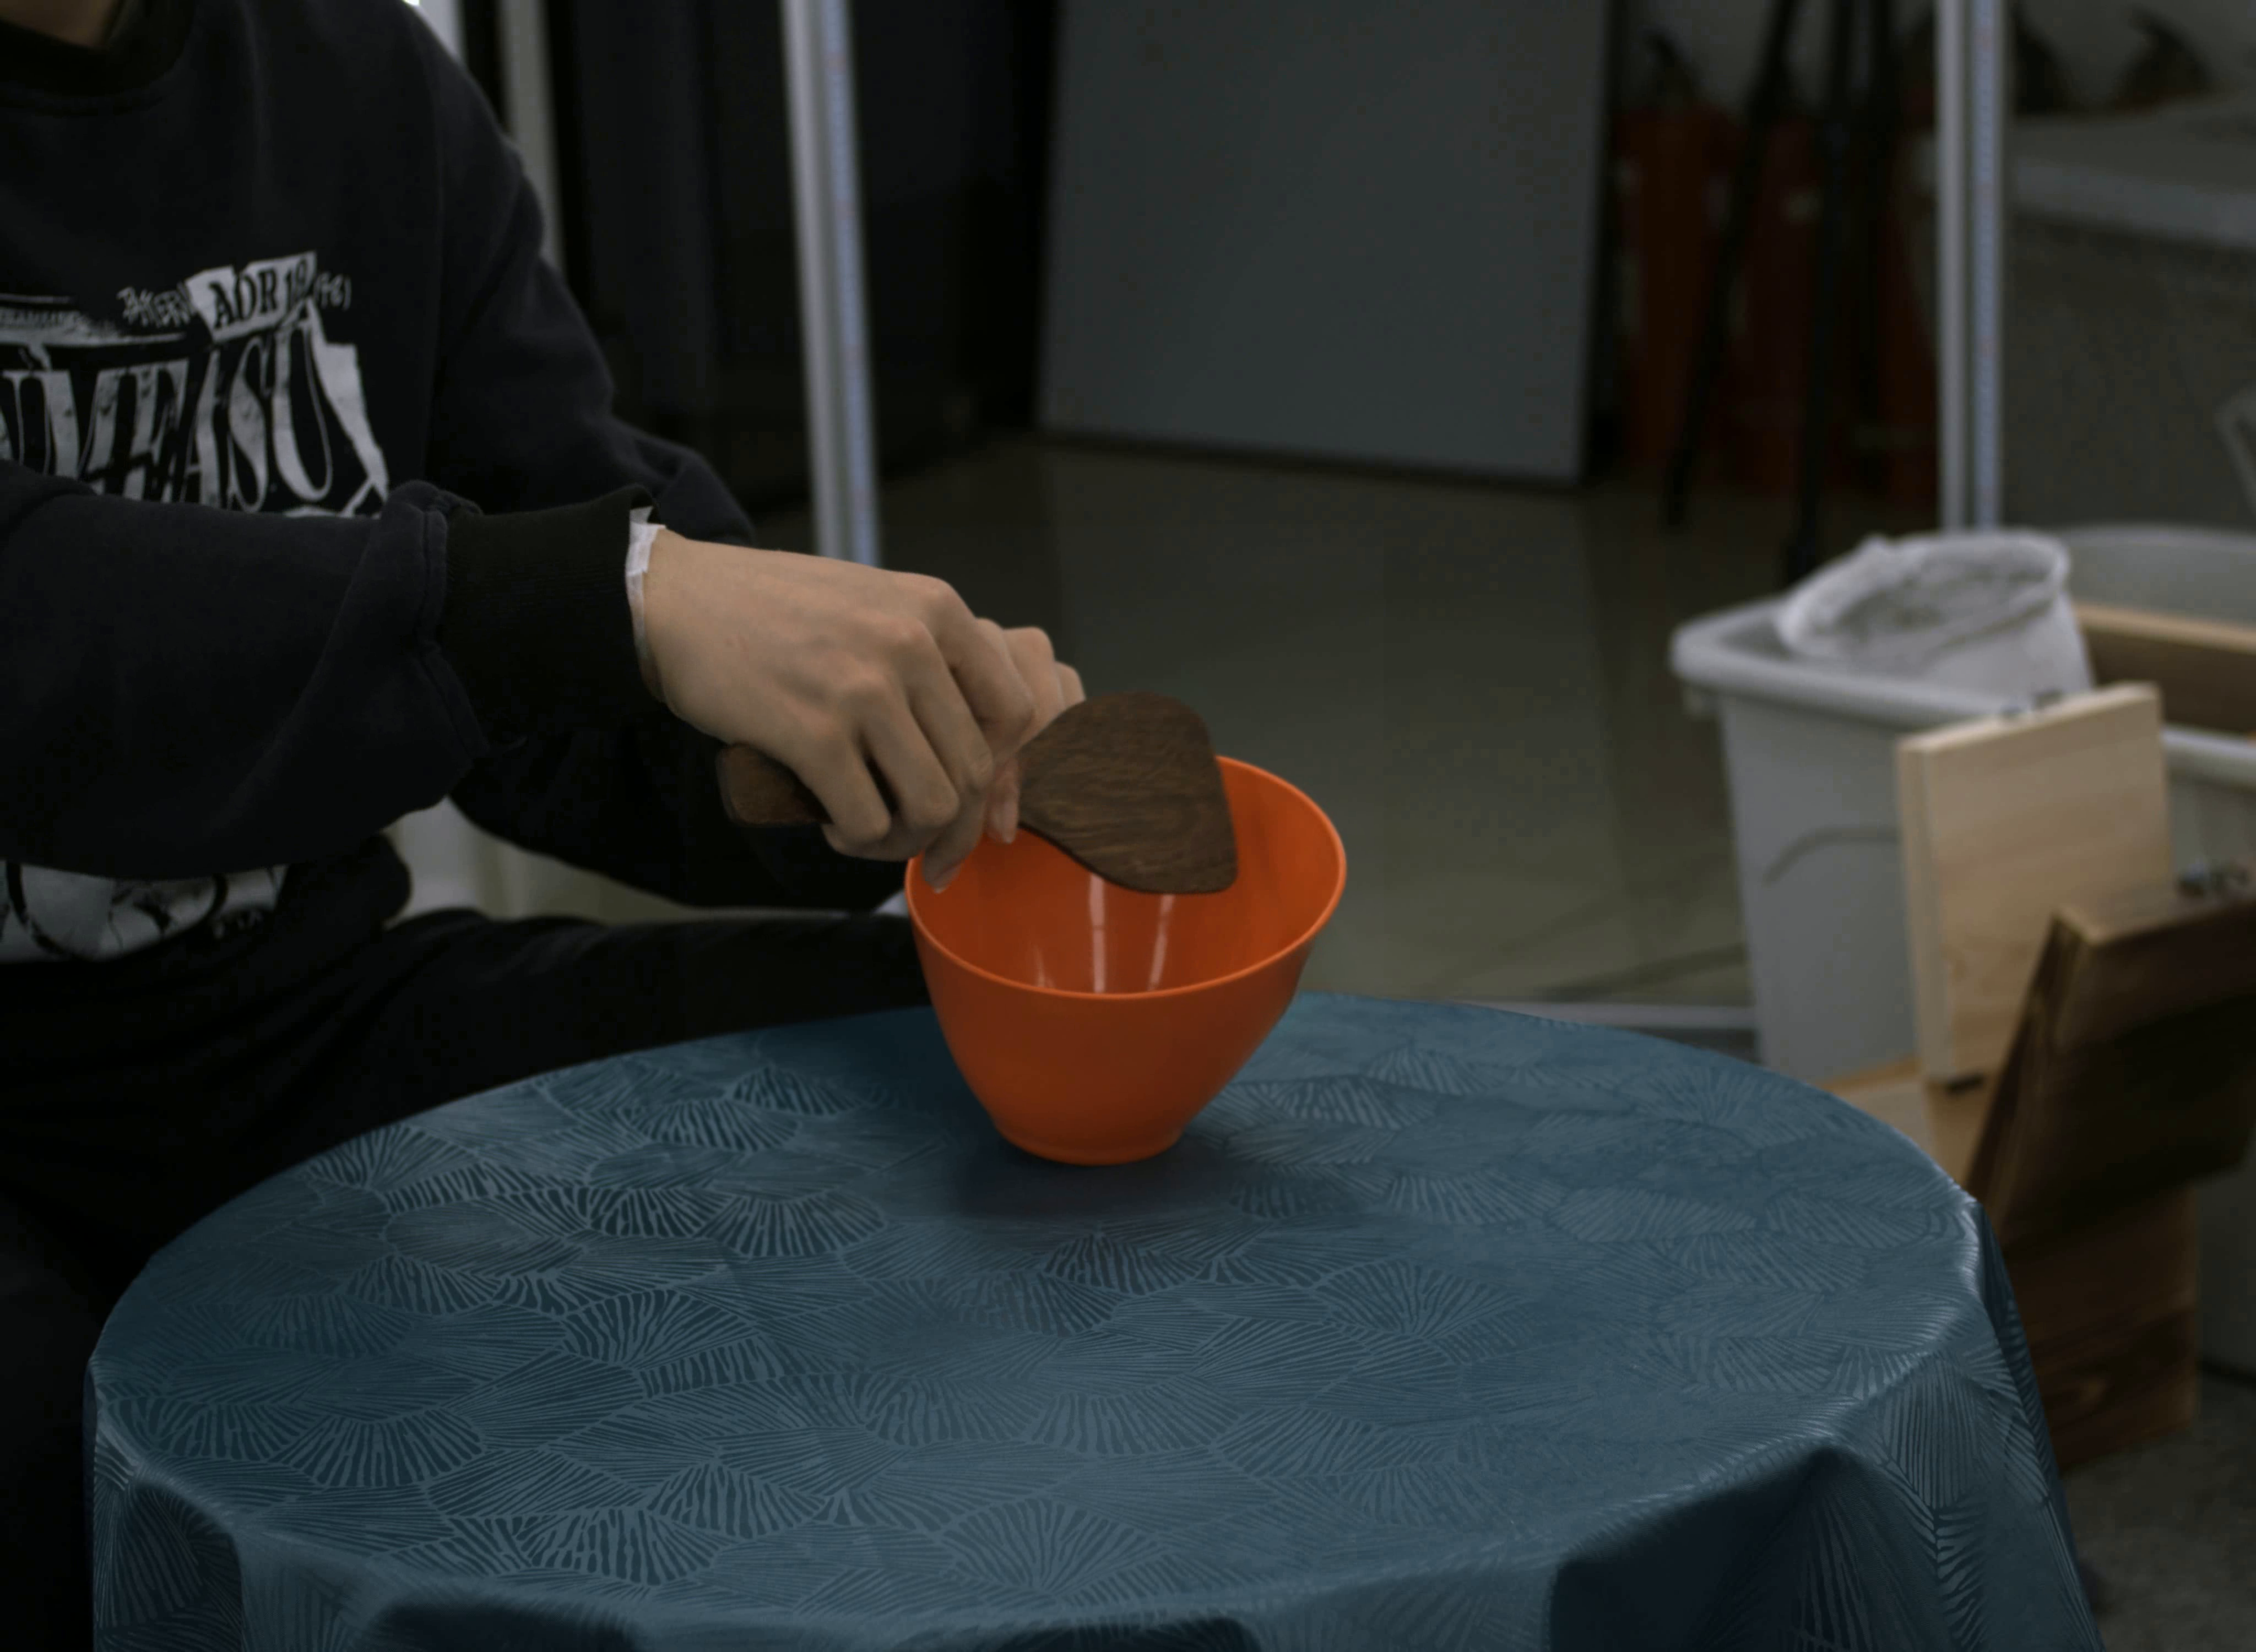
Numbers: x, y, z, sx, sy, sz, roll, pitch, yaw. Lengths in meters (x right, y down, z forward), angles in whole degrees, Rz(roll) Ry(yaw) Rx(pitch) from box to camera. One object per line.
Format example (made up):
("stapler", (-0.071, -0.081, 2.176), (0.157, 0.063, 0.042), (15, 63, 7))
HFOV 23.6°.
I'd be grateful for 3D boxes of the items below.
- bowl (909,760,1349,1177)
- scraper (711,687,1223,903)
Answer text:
("bowl", (-0.003, 0.052, 1.811), (0.146, 0.106, 0.148), (3, 26, -2))
("scraper", (-0.052, -0.013, 1.761), (0.206, 0.077, 0.011), (3, -21, -41))
